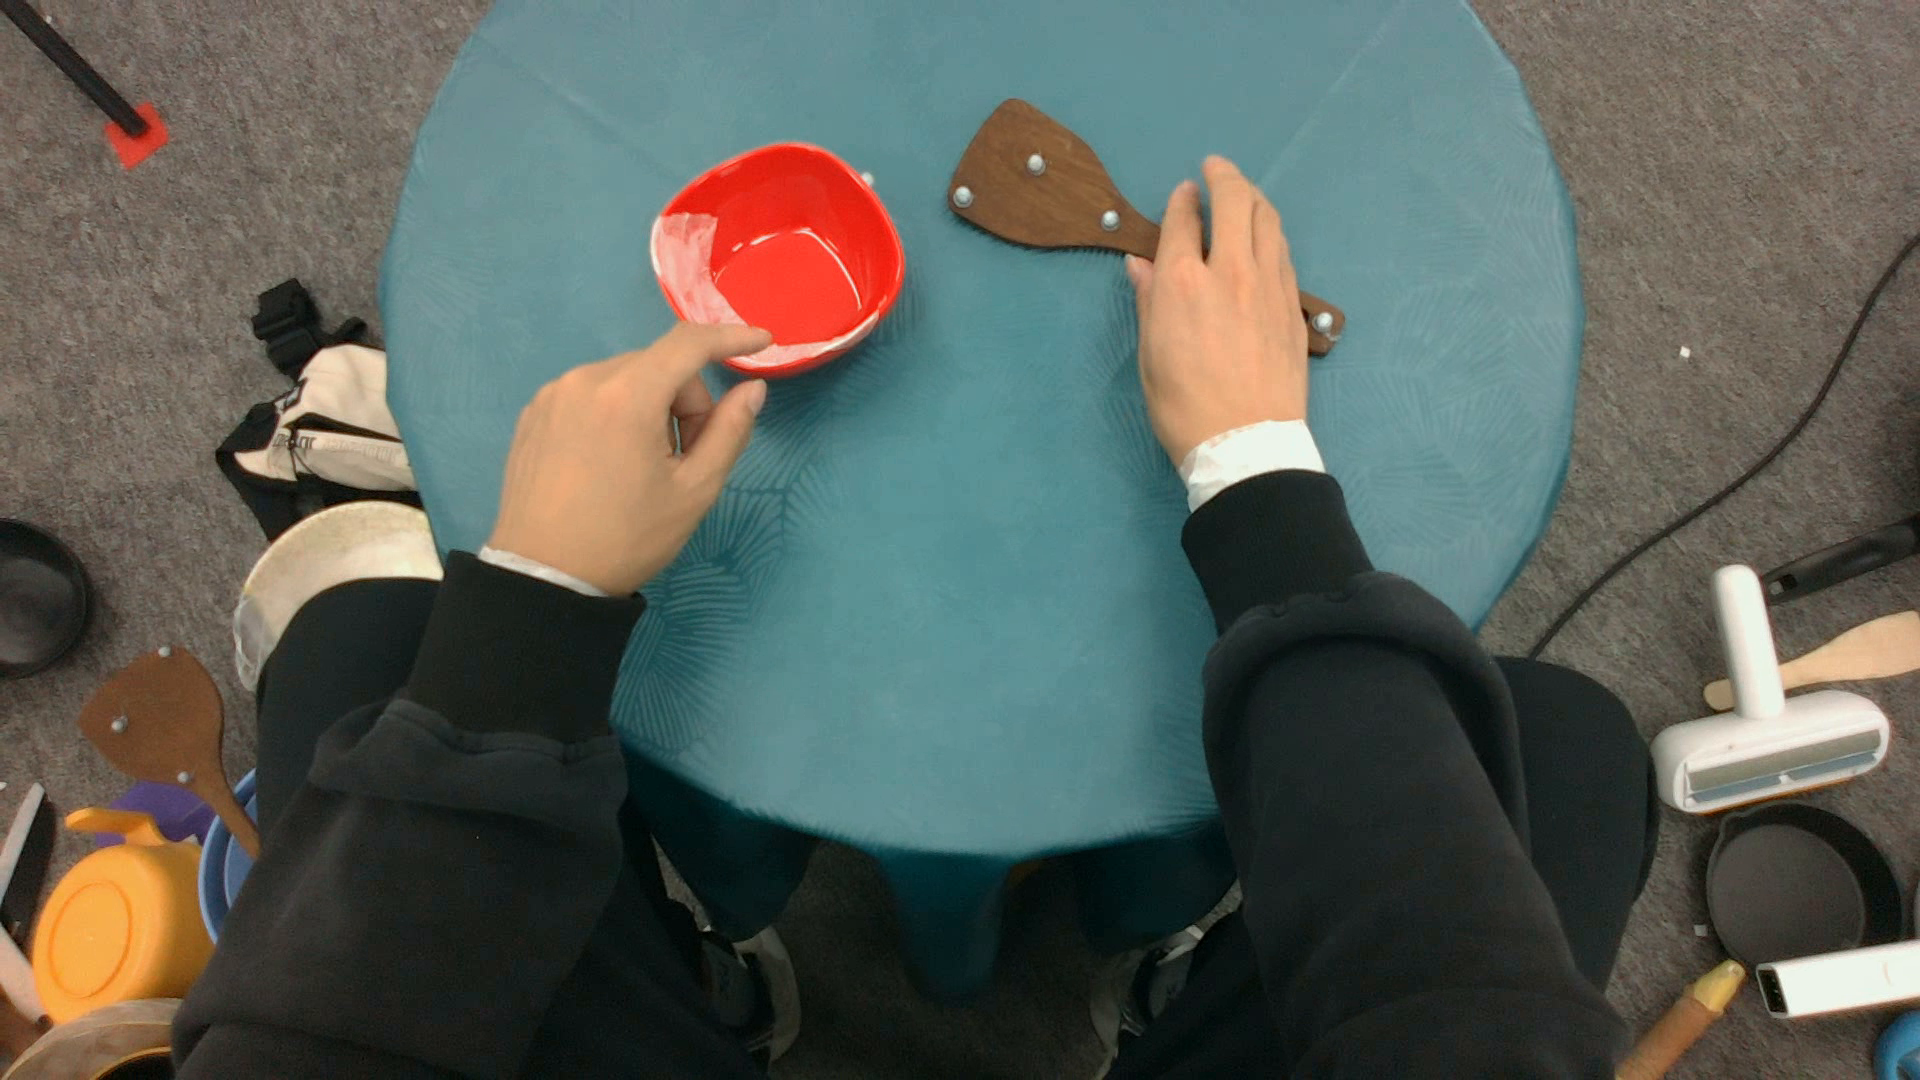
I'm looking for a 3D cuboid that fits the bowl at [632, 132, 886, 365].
[{"bbox_3d":[-0.094,-0.132,0.663,0.119,0.051,0.119,1,71,-2],"label":"bowl"}]

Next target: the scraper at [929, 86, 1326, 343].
[{"bbox_3d":[0.087,-0.157,0.695,0.211,0.011,0.076,29,76,7],"label":"scraper"}]
